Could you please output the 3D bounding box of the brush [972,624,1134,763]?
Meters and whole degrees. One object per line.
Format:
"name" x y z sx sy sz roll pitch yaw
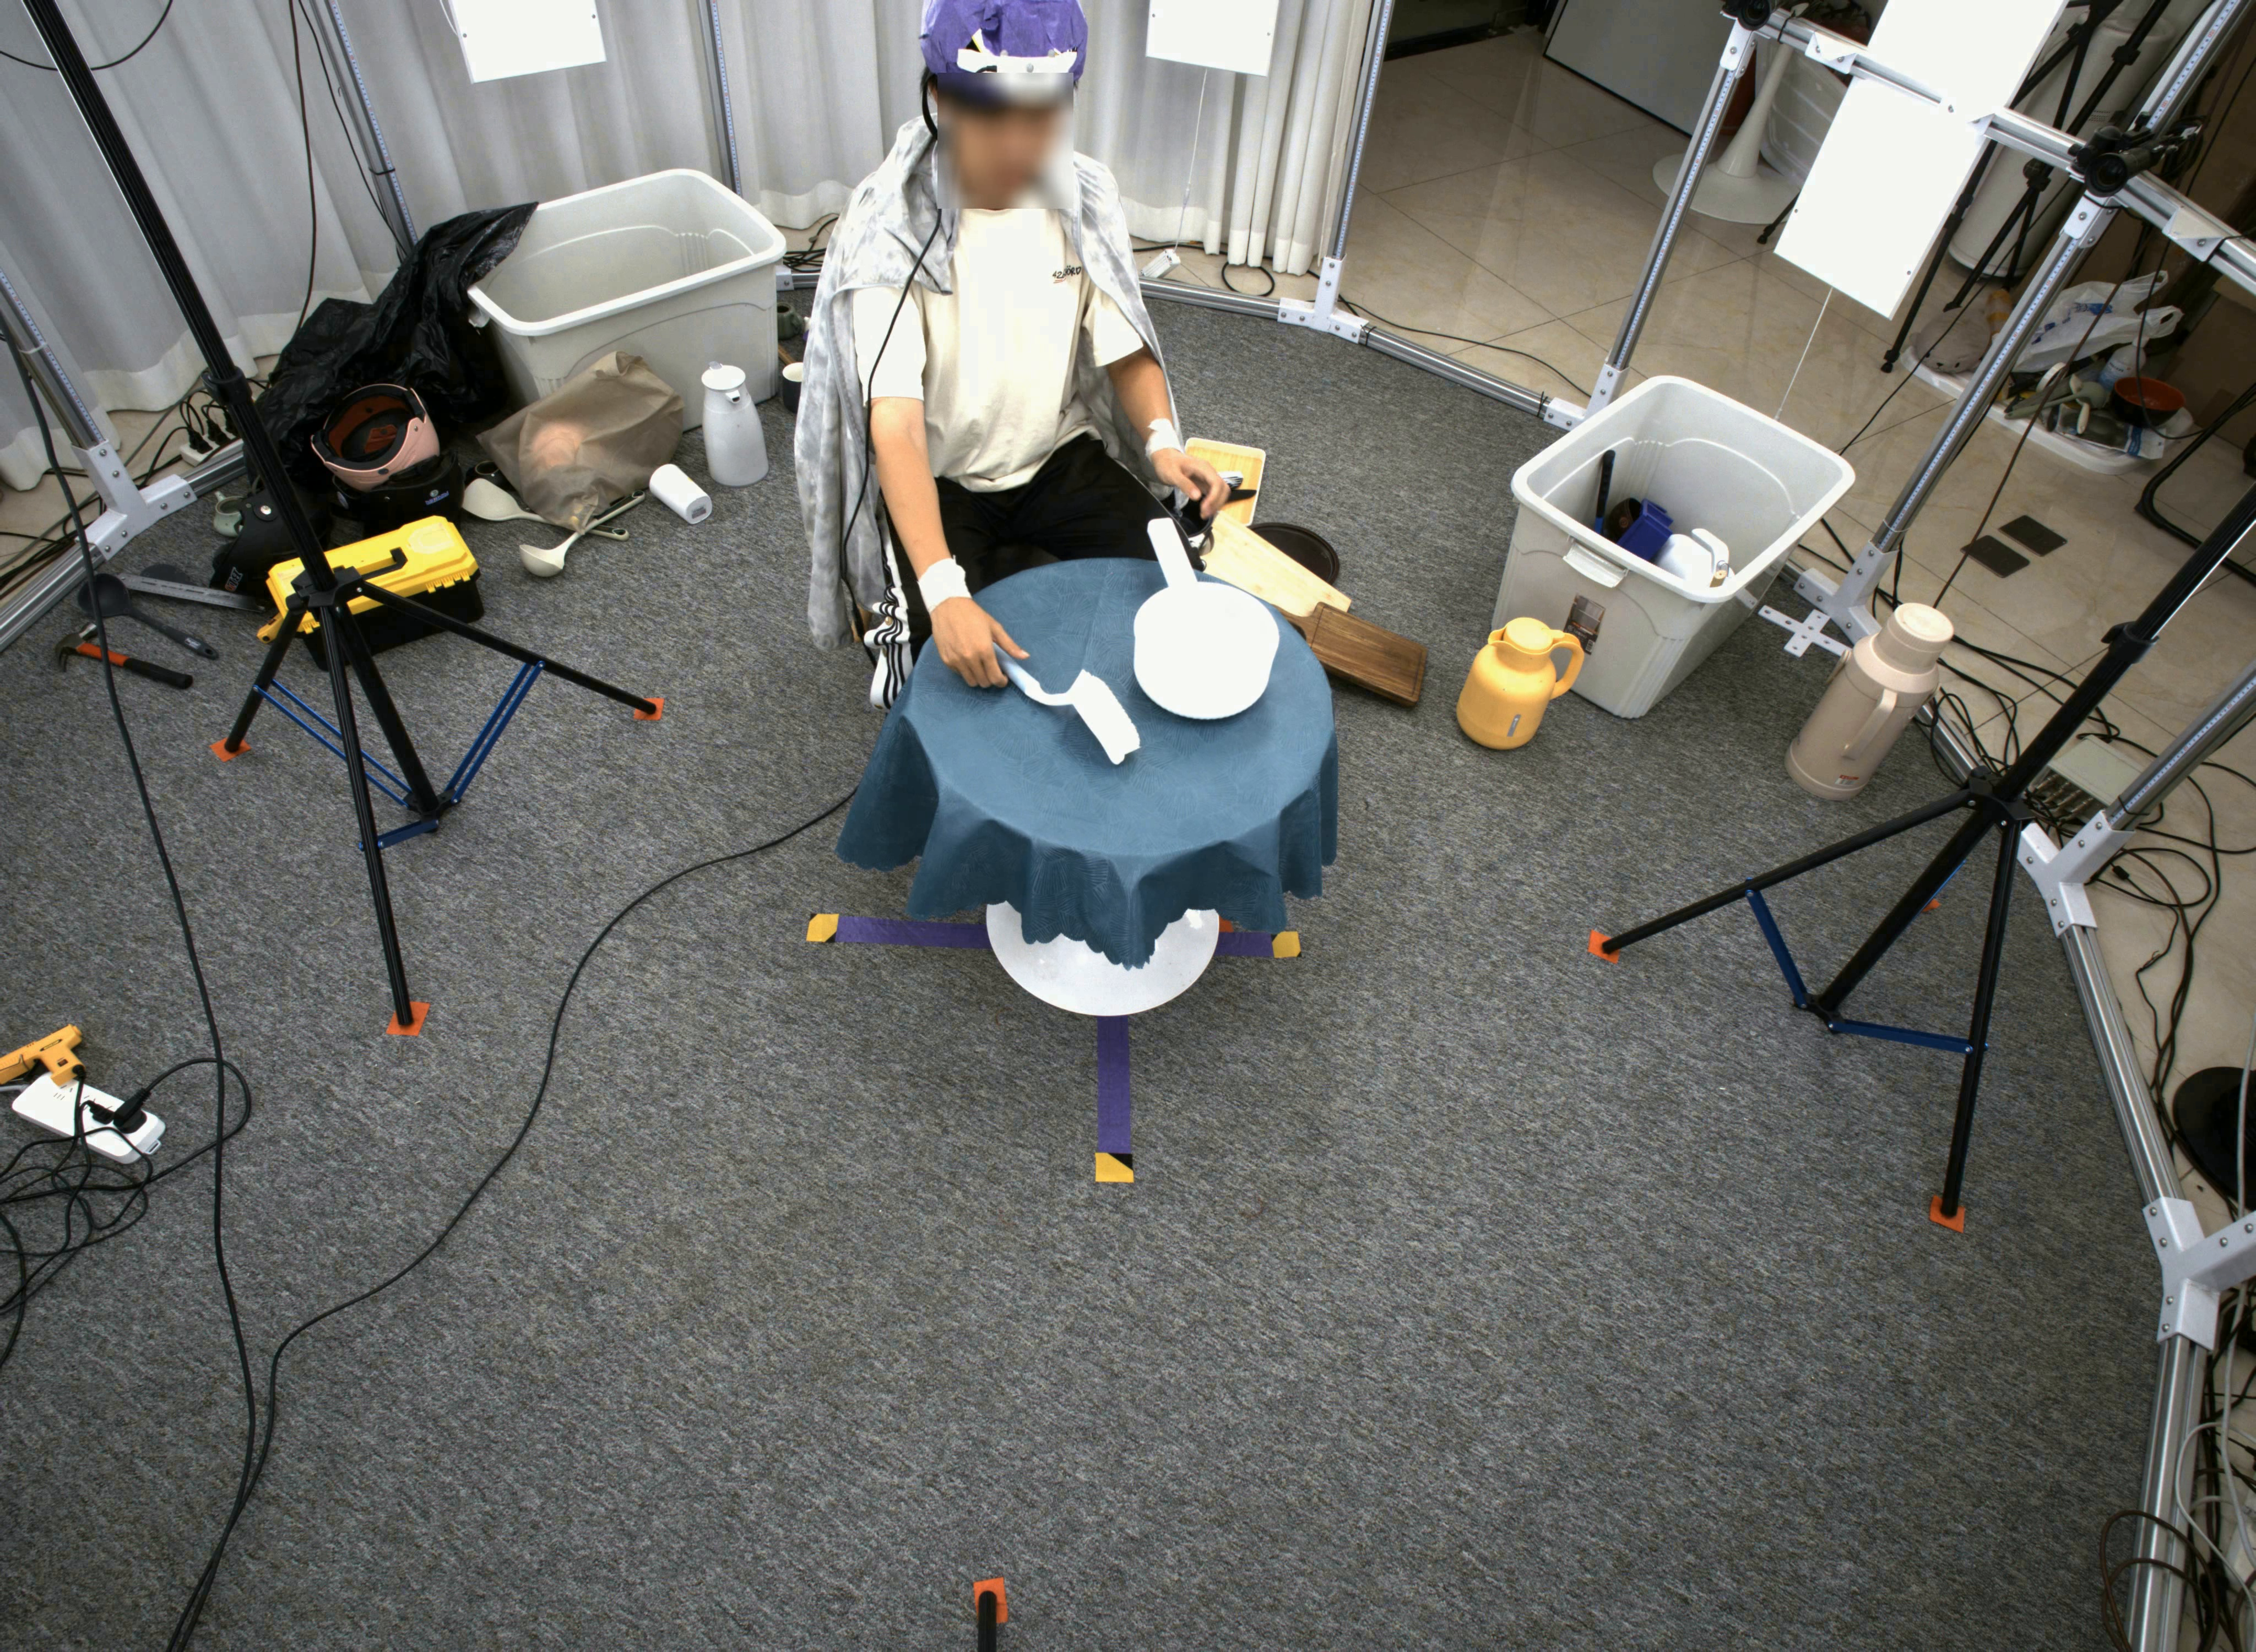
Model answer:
"brush" -0.100 -0.212 1.786 0.085 0.081 0.331 -32 59 -23

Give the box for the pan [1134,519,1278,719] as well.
"pan" 0.088 -0.301 1.865 0.201 0.099 0.364 -8 49 -11
